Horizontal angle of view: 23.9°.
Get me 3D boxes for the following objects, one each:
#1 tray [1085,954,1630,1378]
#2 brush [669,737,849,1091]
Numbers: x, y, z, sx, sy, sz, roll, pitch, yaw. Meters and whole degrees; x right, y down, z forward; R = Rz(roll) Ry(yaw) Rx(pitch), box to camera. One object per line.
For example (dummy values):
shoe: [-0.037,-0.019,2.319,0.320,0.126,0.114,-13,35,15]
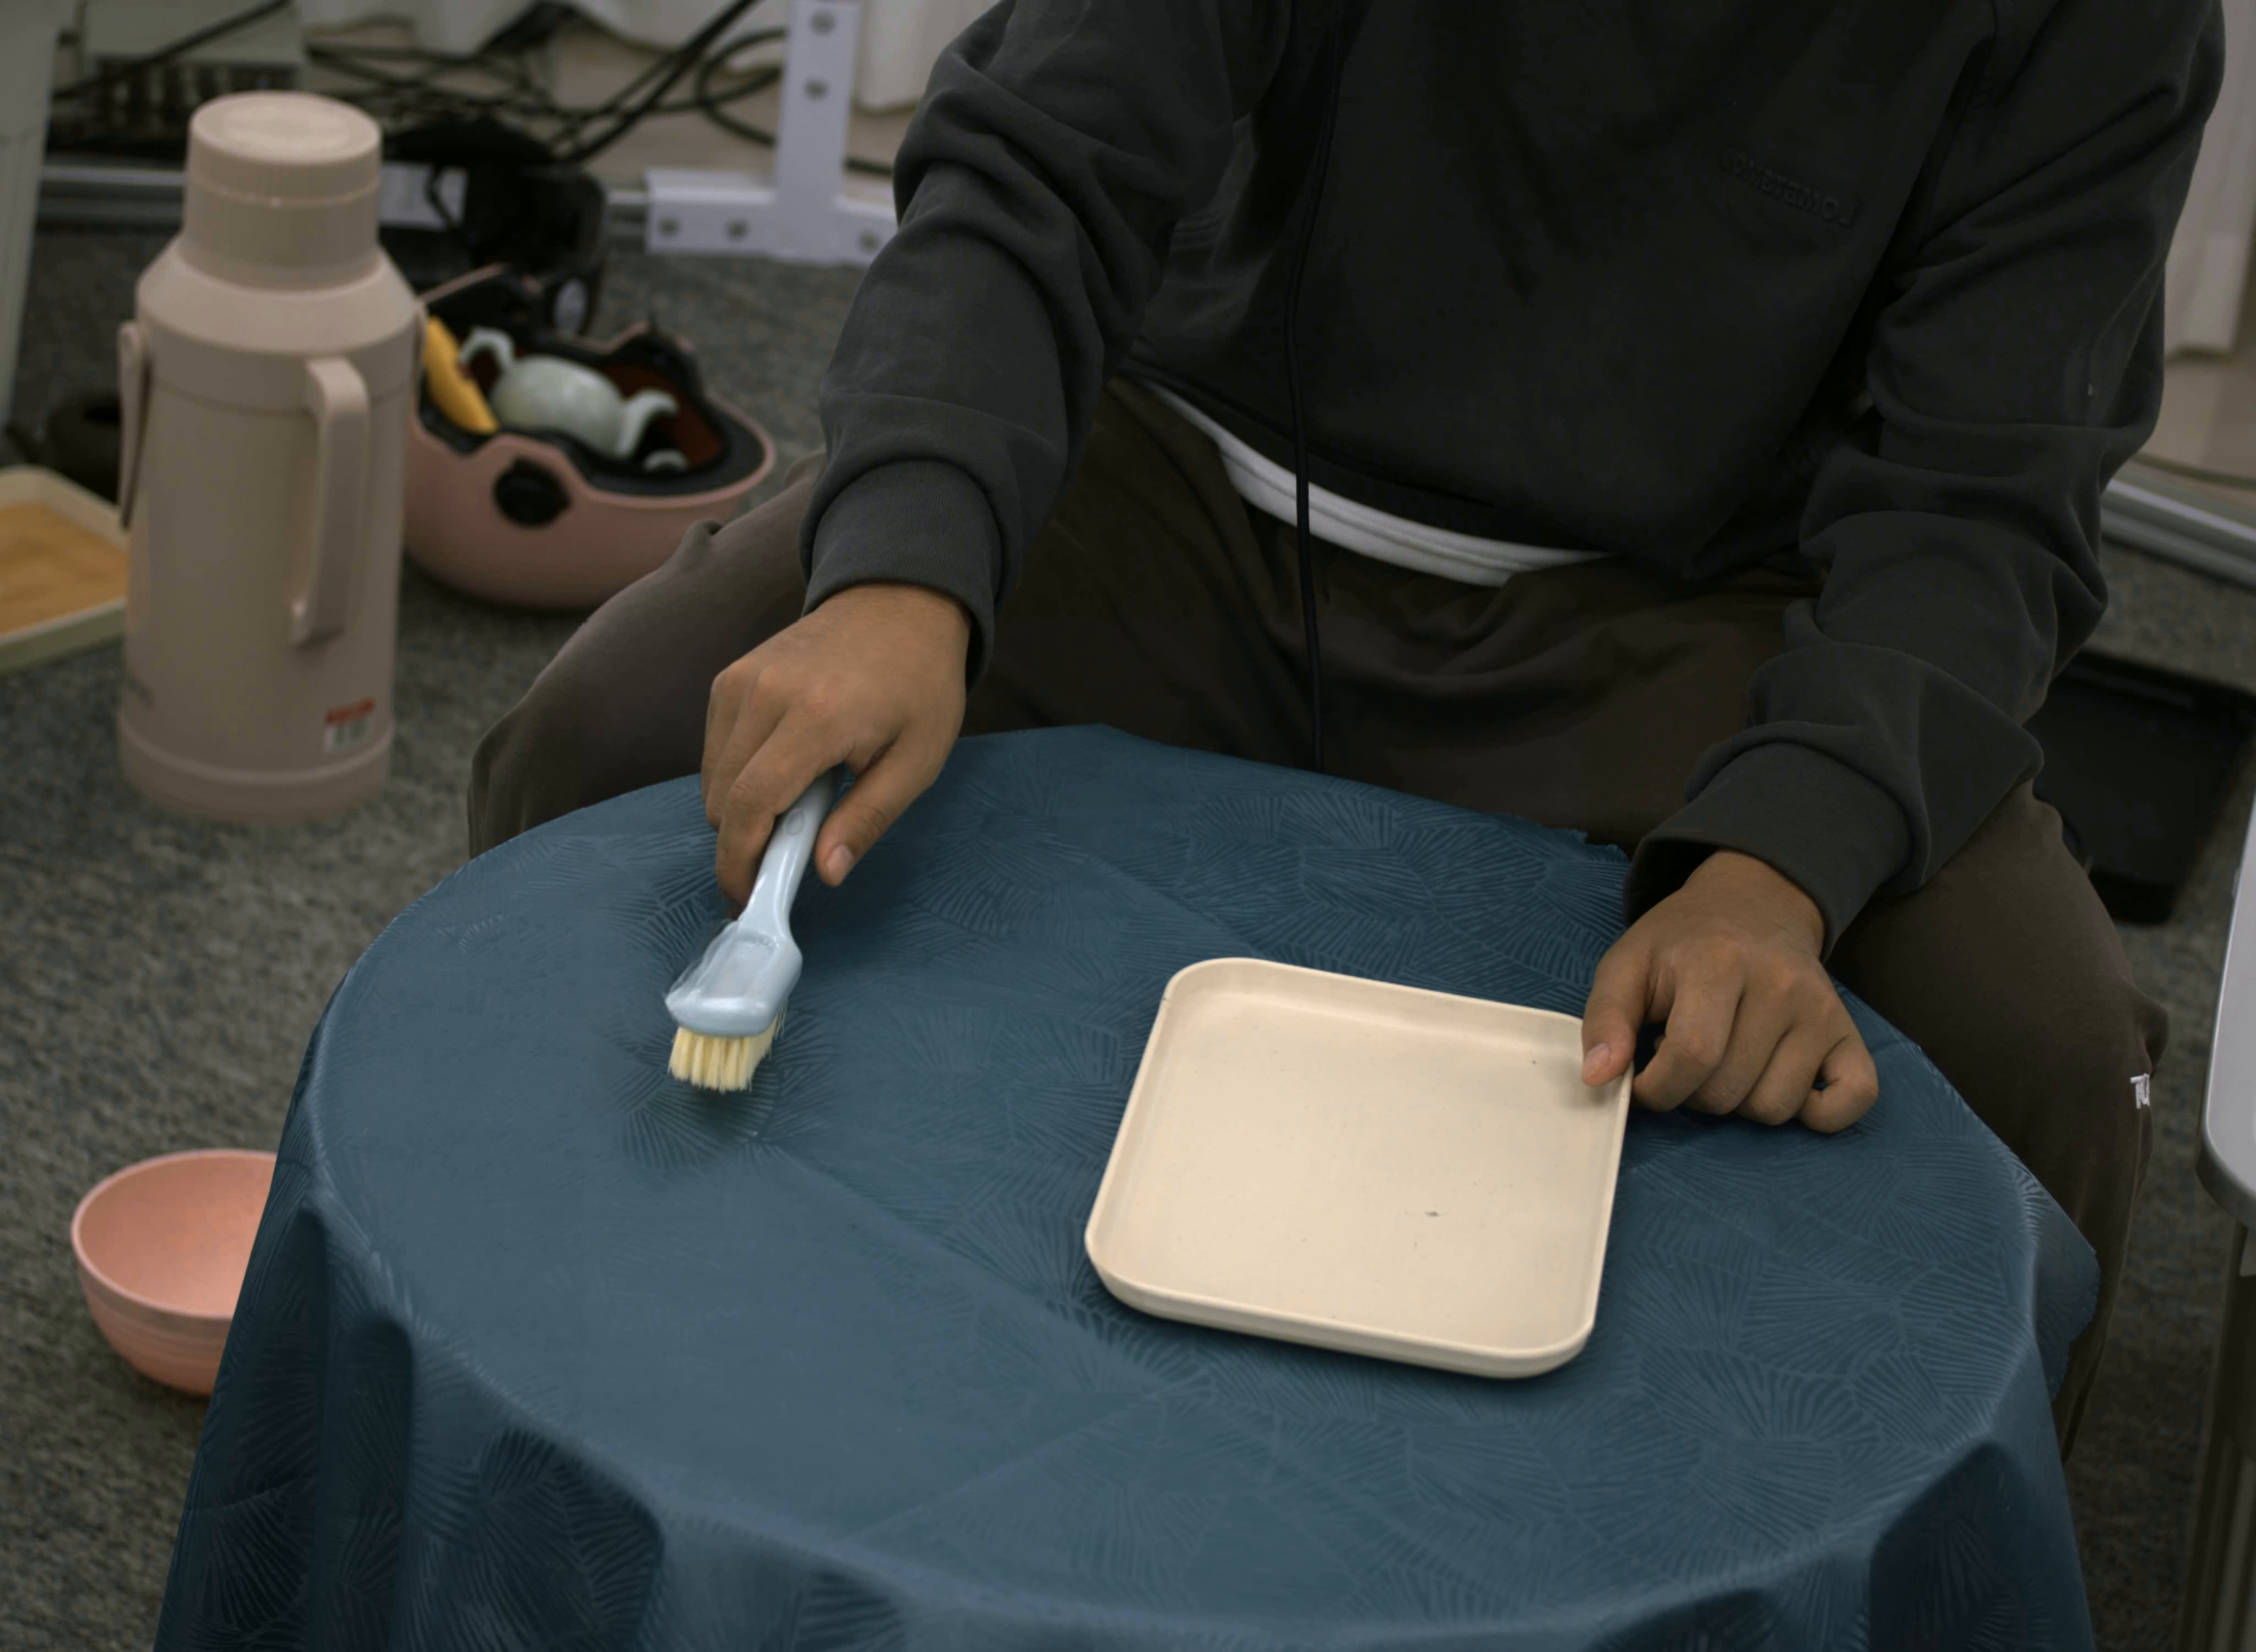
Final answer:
tray: [0.081,0.115,1.822,0.171,0.017,0.240,10,27,5]
brush: [-0.129,0.029,1.902,0.037,0.049,0.230,11,30,1]
